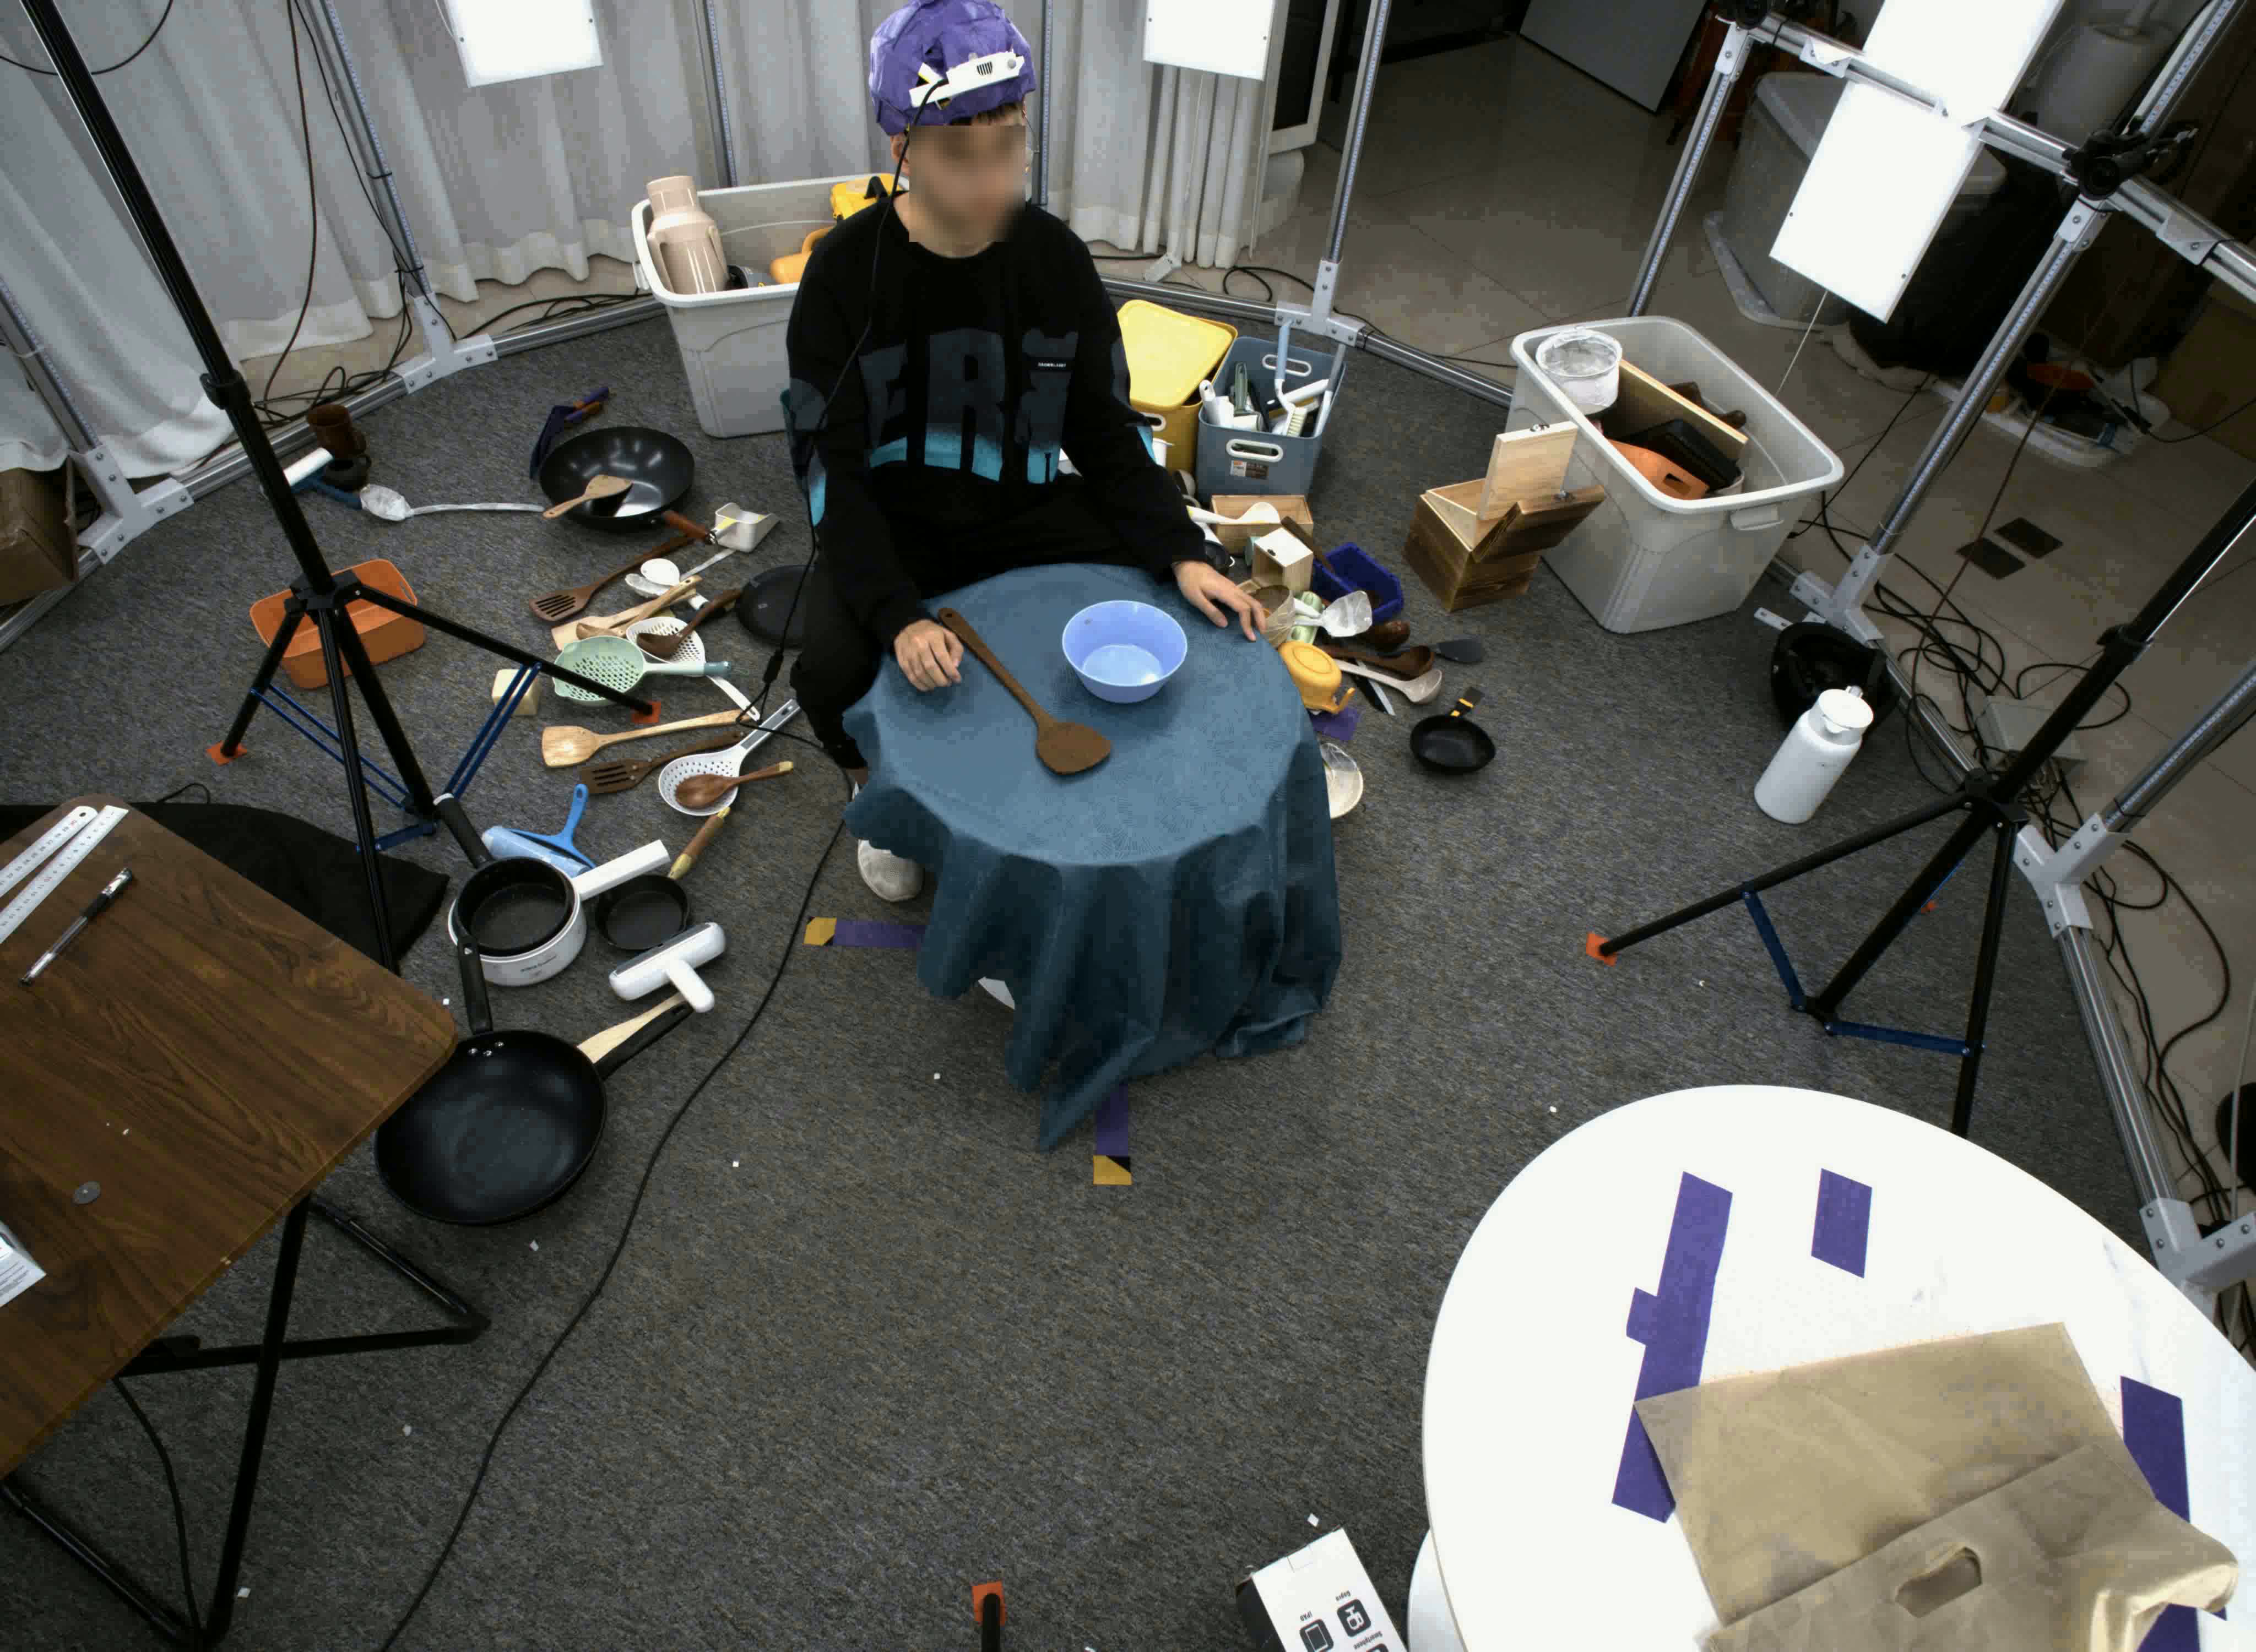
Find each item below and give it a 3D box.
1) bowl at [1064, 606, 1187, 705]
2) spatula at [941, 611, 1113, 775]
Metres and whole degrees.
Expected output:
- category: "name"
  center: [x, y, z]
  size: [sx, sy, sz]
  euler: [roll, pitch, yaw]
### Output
- category: "bowl"
  center: [-0.005, -0.236, 1.846]
  size: [0.176, 0.068, 0.180]
  euler: [1, 47, -2]
- category: "spatula"
  center: [-0.163, -0.200, 1.839]
  size: [0.096, 0.015, 0.393]
  euler: [-27, 55, -25]
